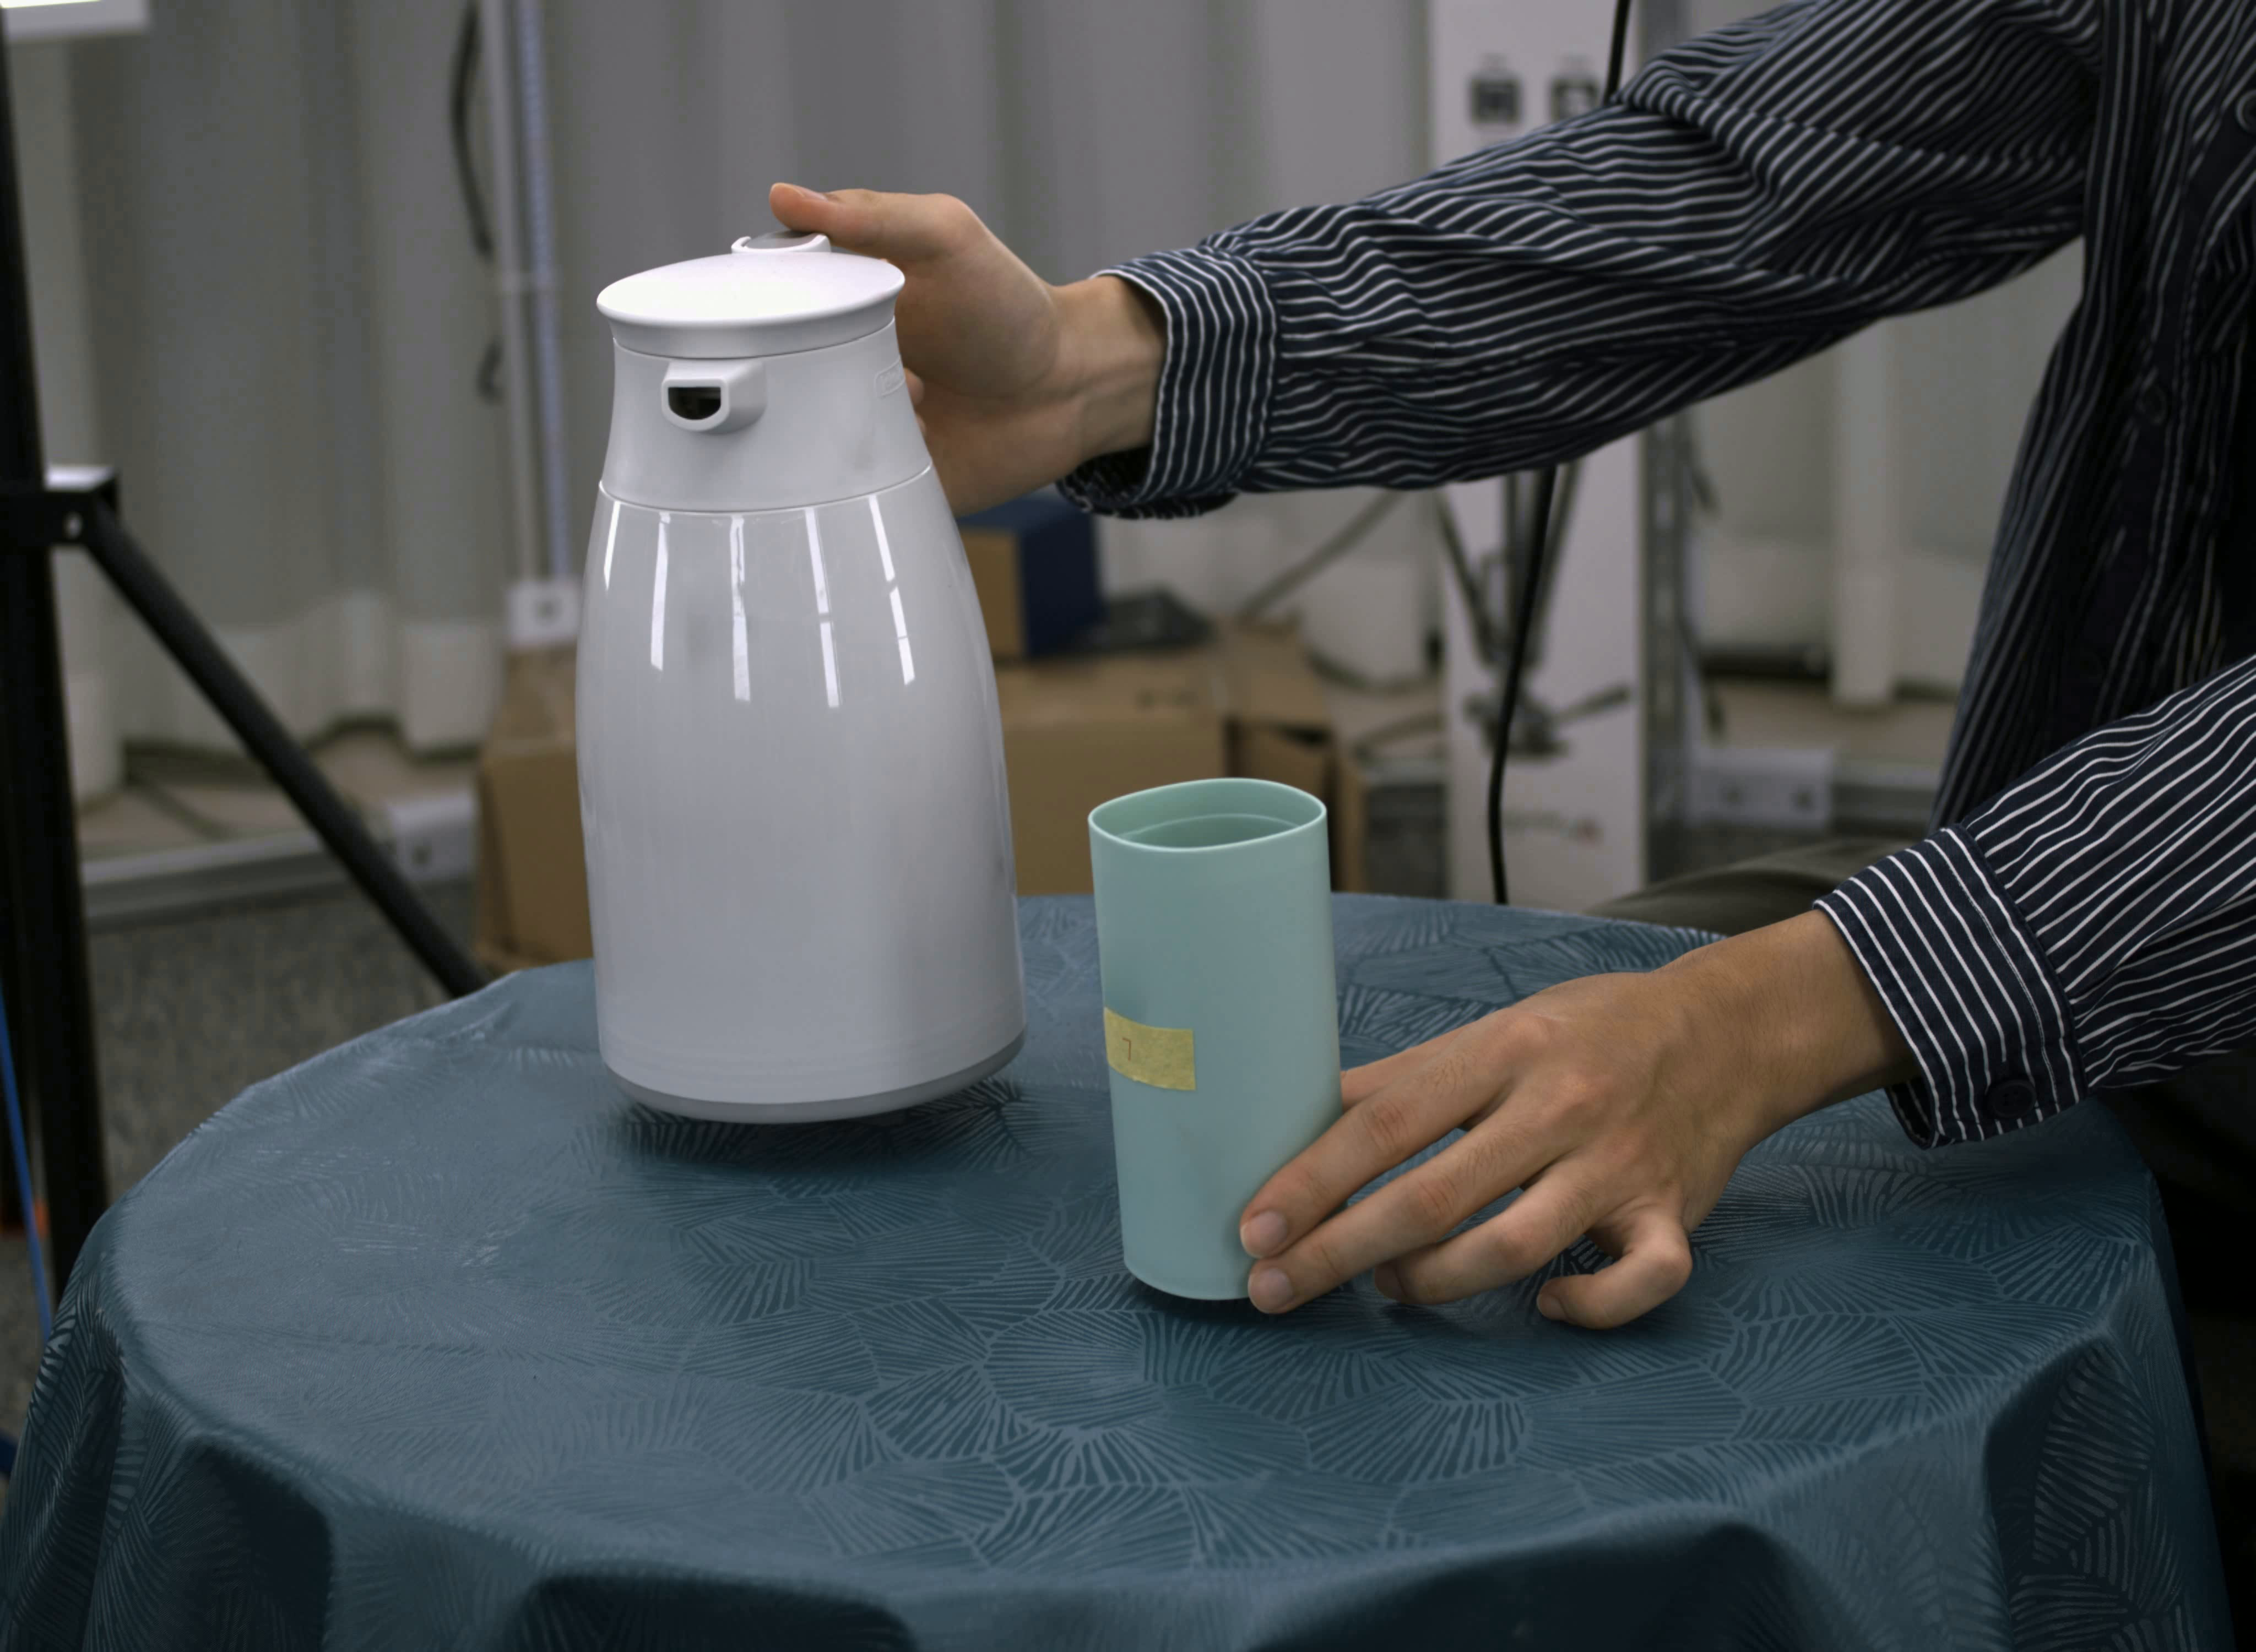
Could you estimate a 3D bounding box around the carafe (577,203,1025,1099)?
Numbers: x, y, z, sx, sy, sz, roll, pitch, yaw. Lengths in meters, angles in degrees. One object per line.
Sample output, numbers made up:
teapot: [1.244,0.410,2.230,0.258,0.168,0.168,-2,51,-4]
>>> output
carafe: [-0.102,-0.061,1.631,0.133,0.248,0.167,-1,16,11]

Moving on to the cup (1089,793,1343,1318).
cup: [0.027,0.062,1.466,0.066,0.132,0.067,-4,16,0]
